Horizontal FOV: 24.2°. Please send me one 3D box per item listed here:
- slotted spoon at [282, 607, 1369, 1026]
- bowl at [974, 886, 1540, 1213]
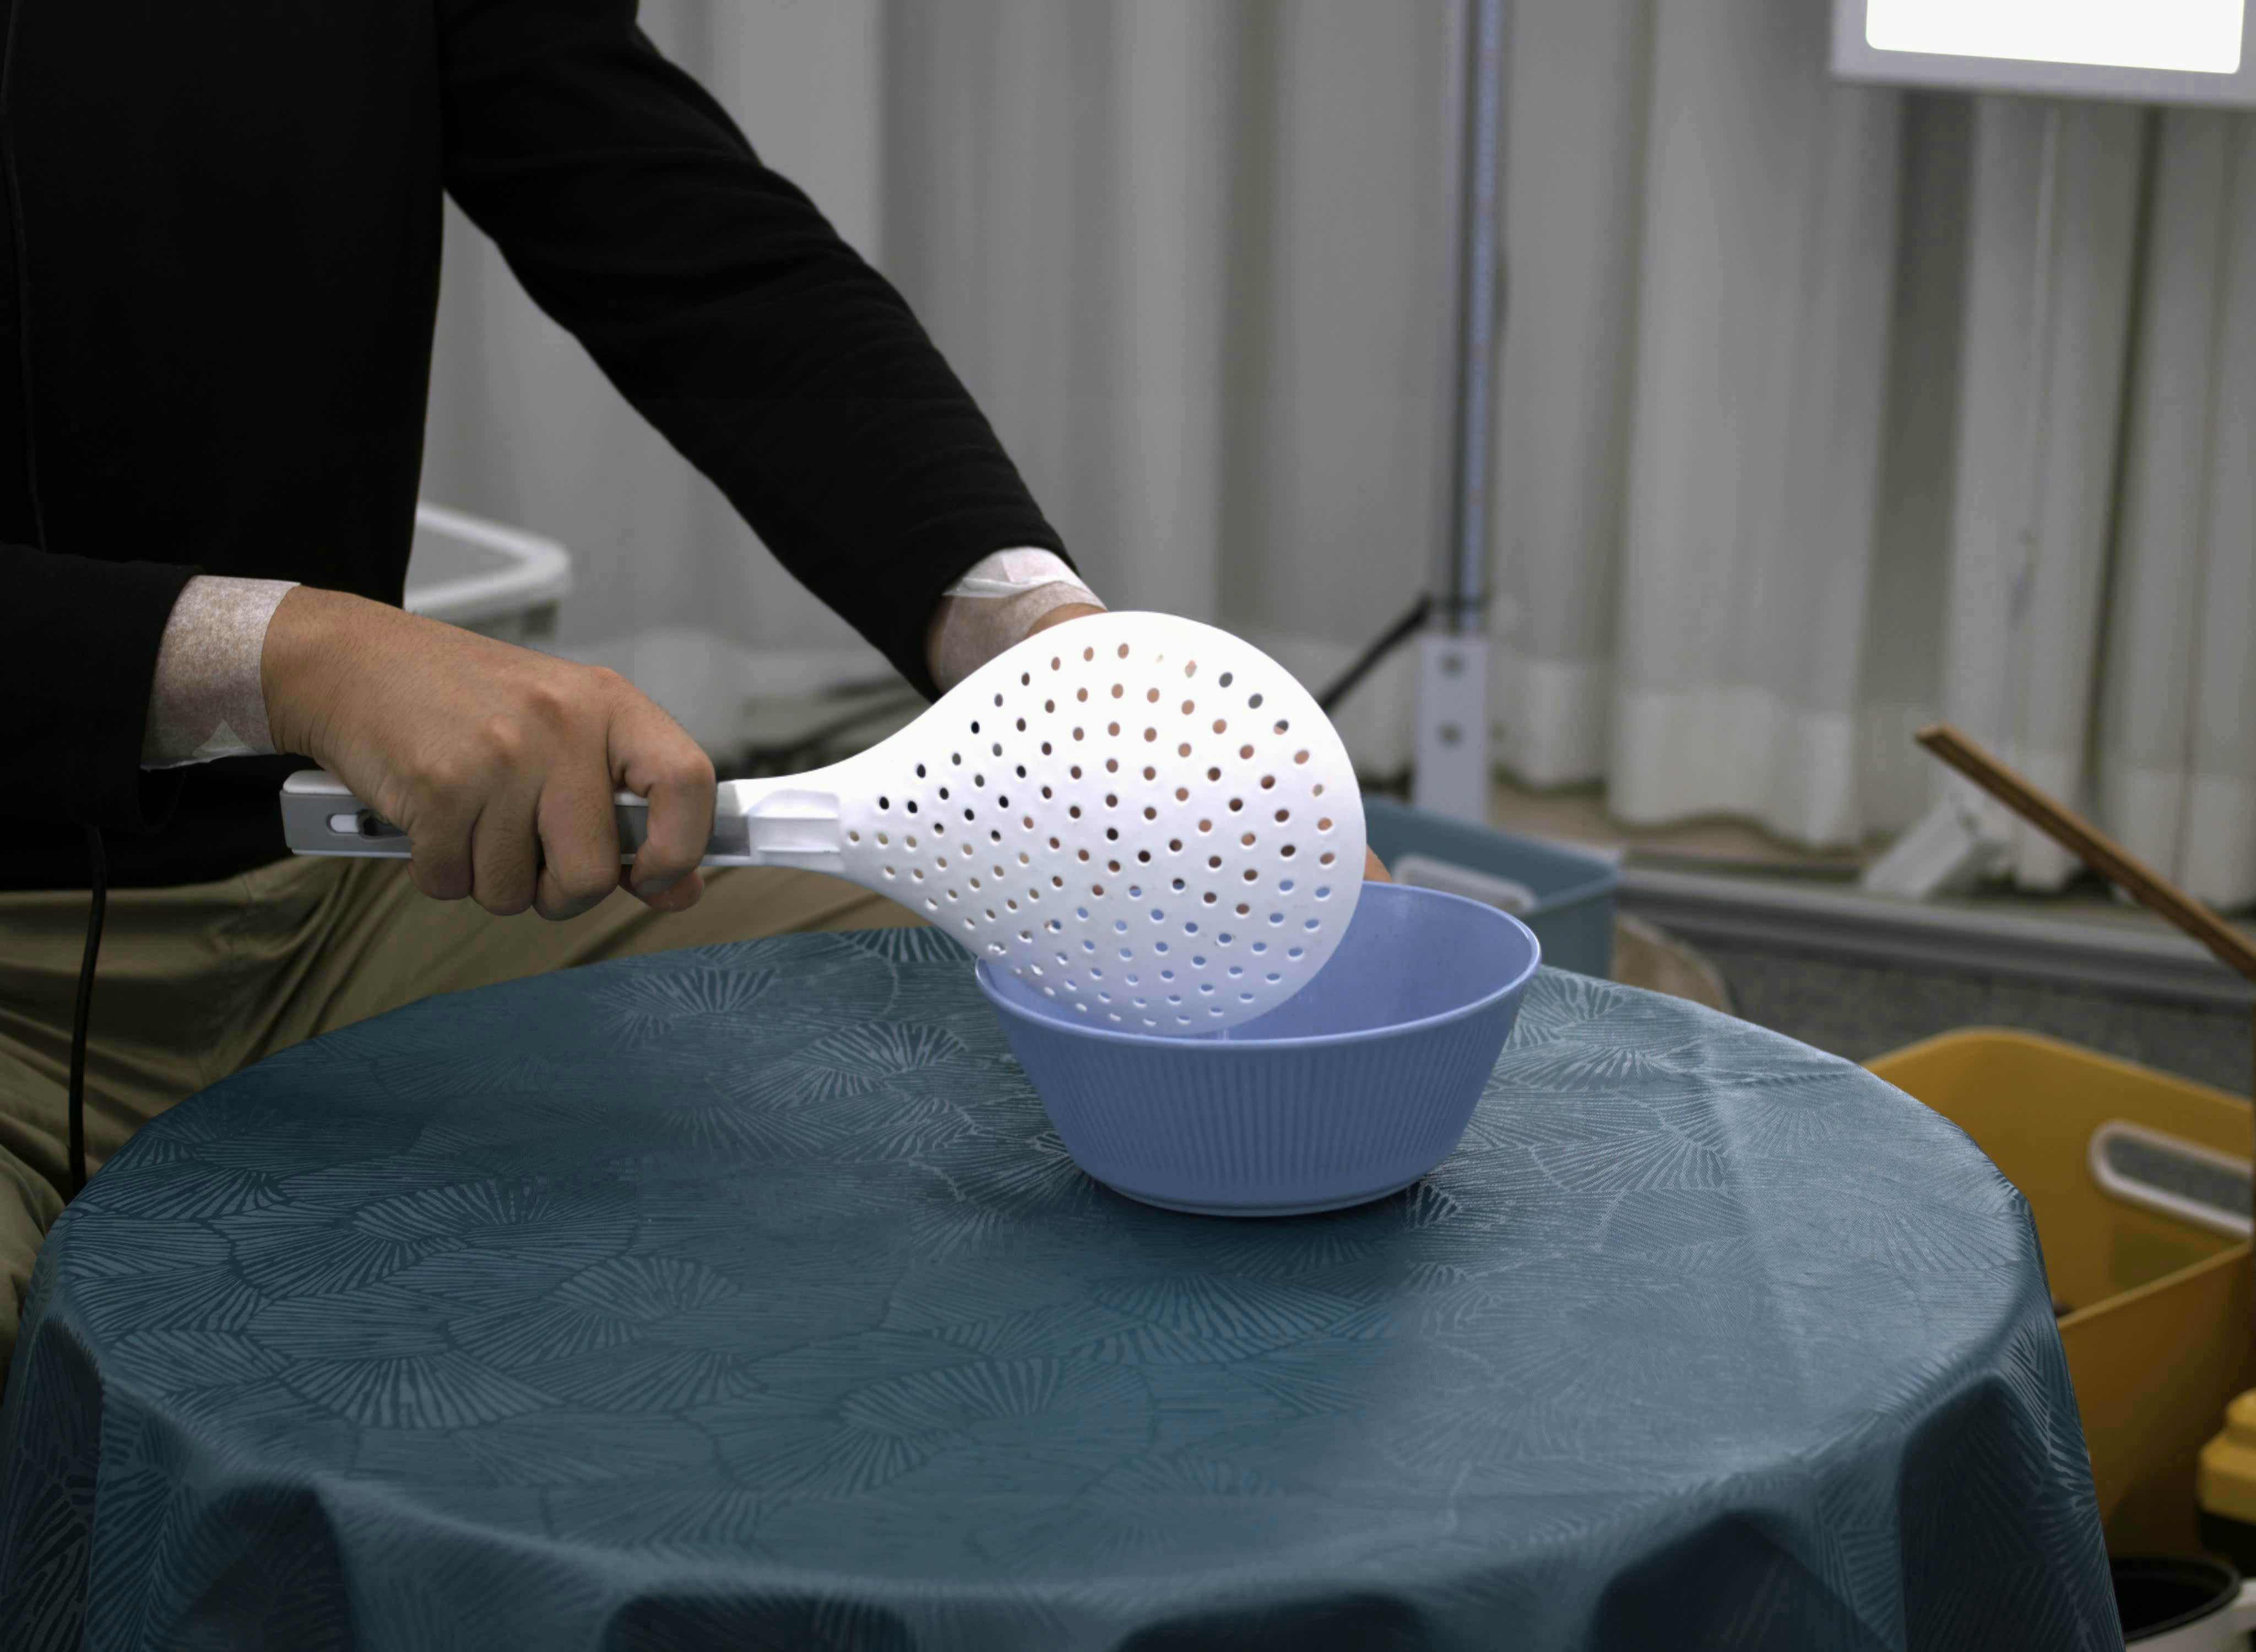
[{"bbox_3d":[-0.098,-0.001,1.618,0.346,0.137,0.046,3,20,19],"label":"slotted spoon"},{"bbox_3d":[0.041,0.071,1.636,0.175,0.071,0.175,-2,15,1],"label":"bowl"}]
